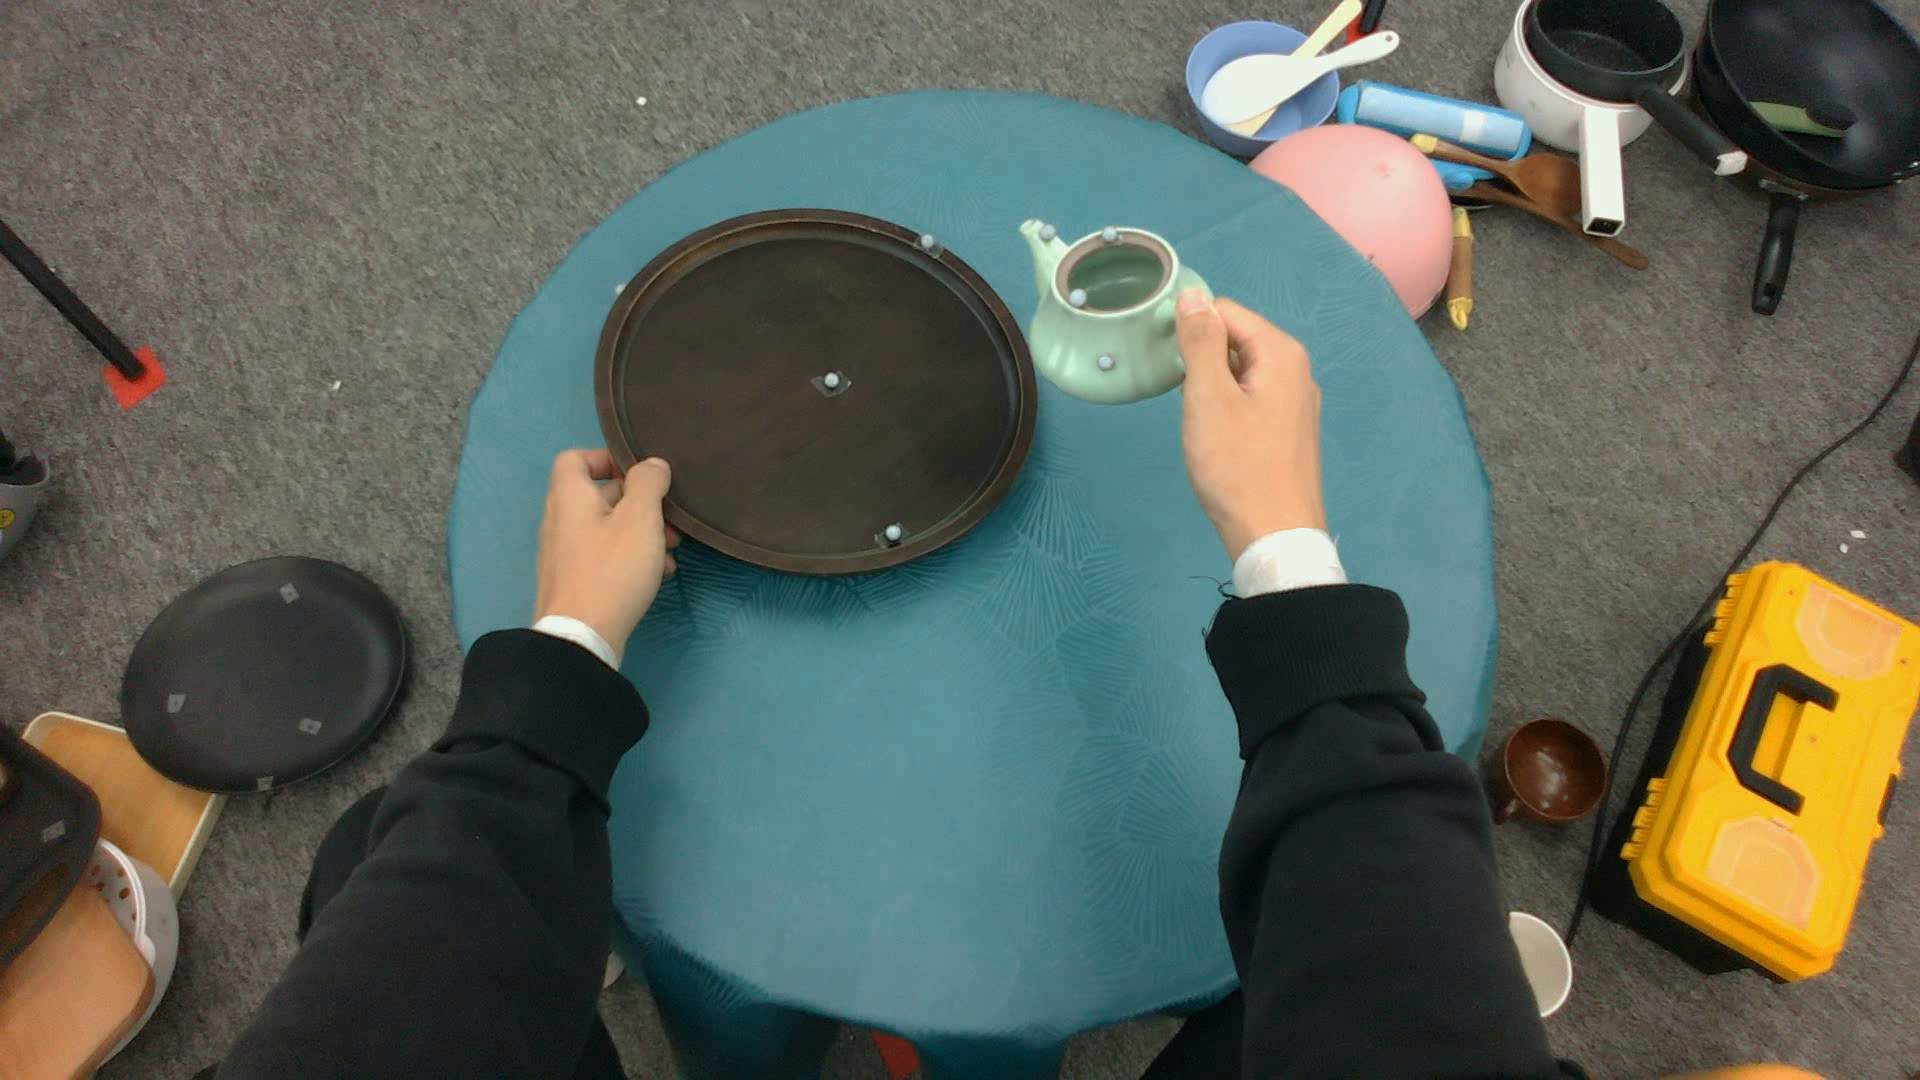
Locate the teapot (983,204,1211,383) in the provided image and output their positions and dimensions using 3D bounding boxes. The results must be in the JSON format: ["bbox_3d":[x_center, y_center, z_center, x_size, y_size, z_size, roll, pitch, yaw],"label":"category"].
[{"bbox_3d":[0.069,-0.123,0.687,0.137,0.061,0.096,32,66,34],"label":"teapot"}]

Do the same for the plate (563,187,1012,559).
[{"bbox_3d":[-0.096,-0.100,0.790,0.255,0.029,0.256,5,60,-9],"label":"plate"}]
